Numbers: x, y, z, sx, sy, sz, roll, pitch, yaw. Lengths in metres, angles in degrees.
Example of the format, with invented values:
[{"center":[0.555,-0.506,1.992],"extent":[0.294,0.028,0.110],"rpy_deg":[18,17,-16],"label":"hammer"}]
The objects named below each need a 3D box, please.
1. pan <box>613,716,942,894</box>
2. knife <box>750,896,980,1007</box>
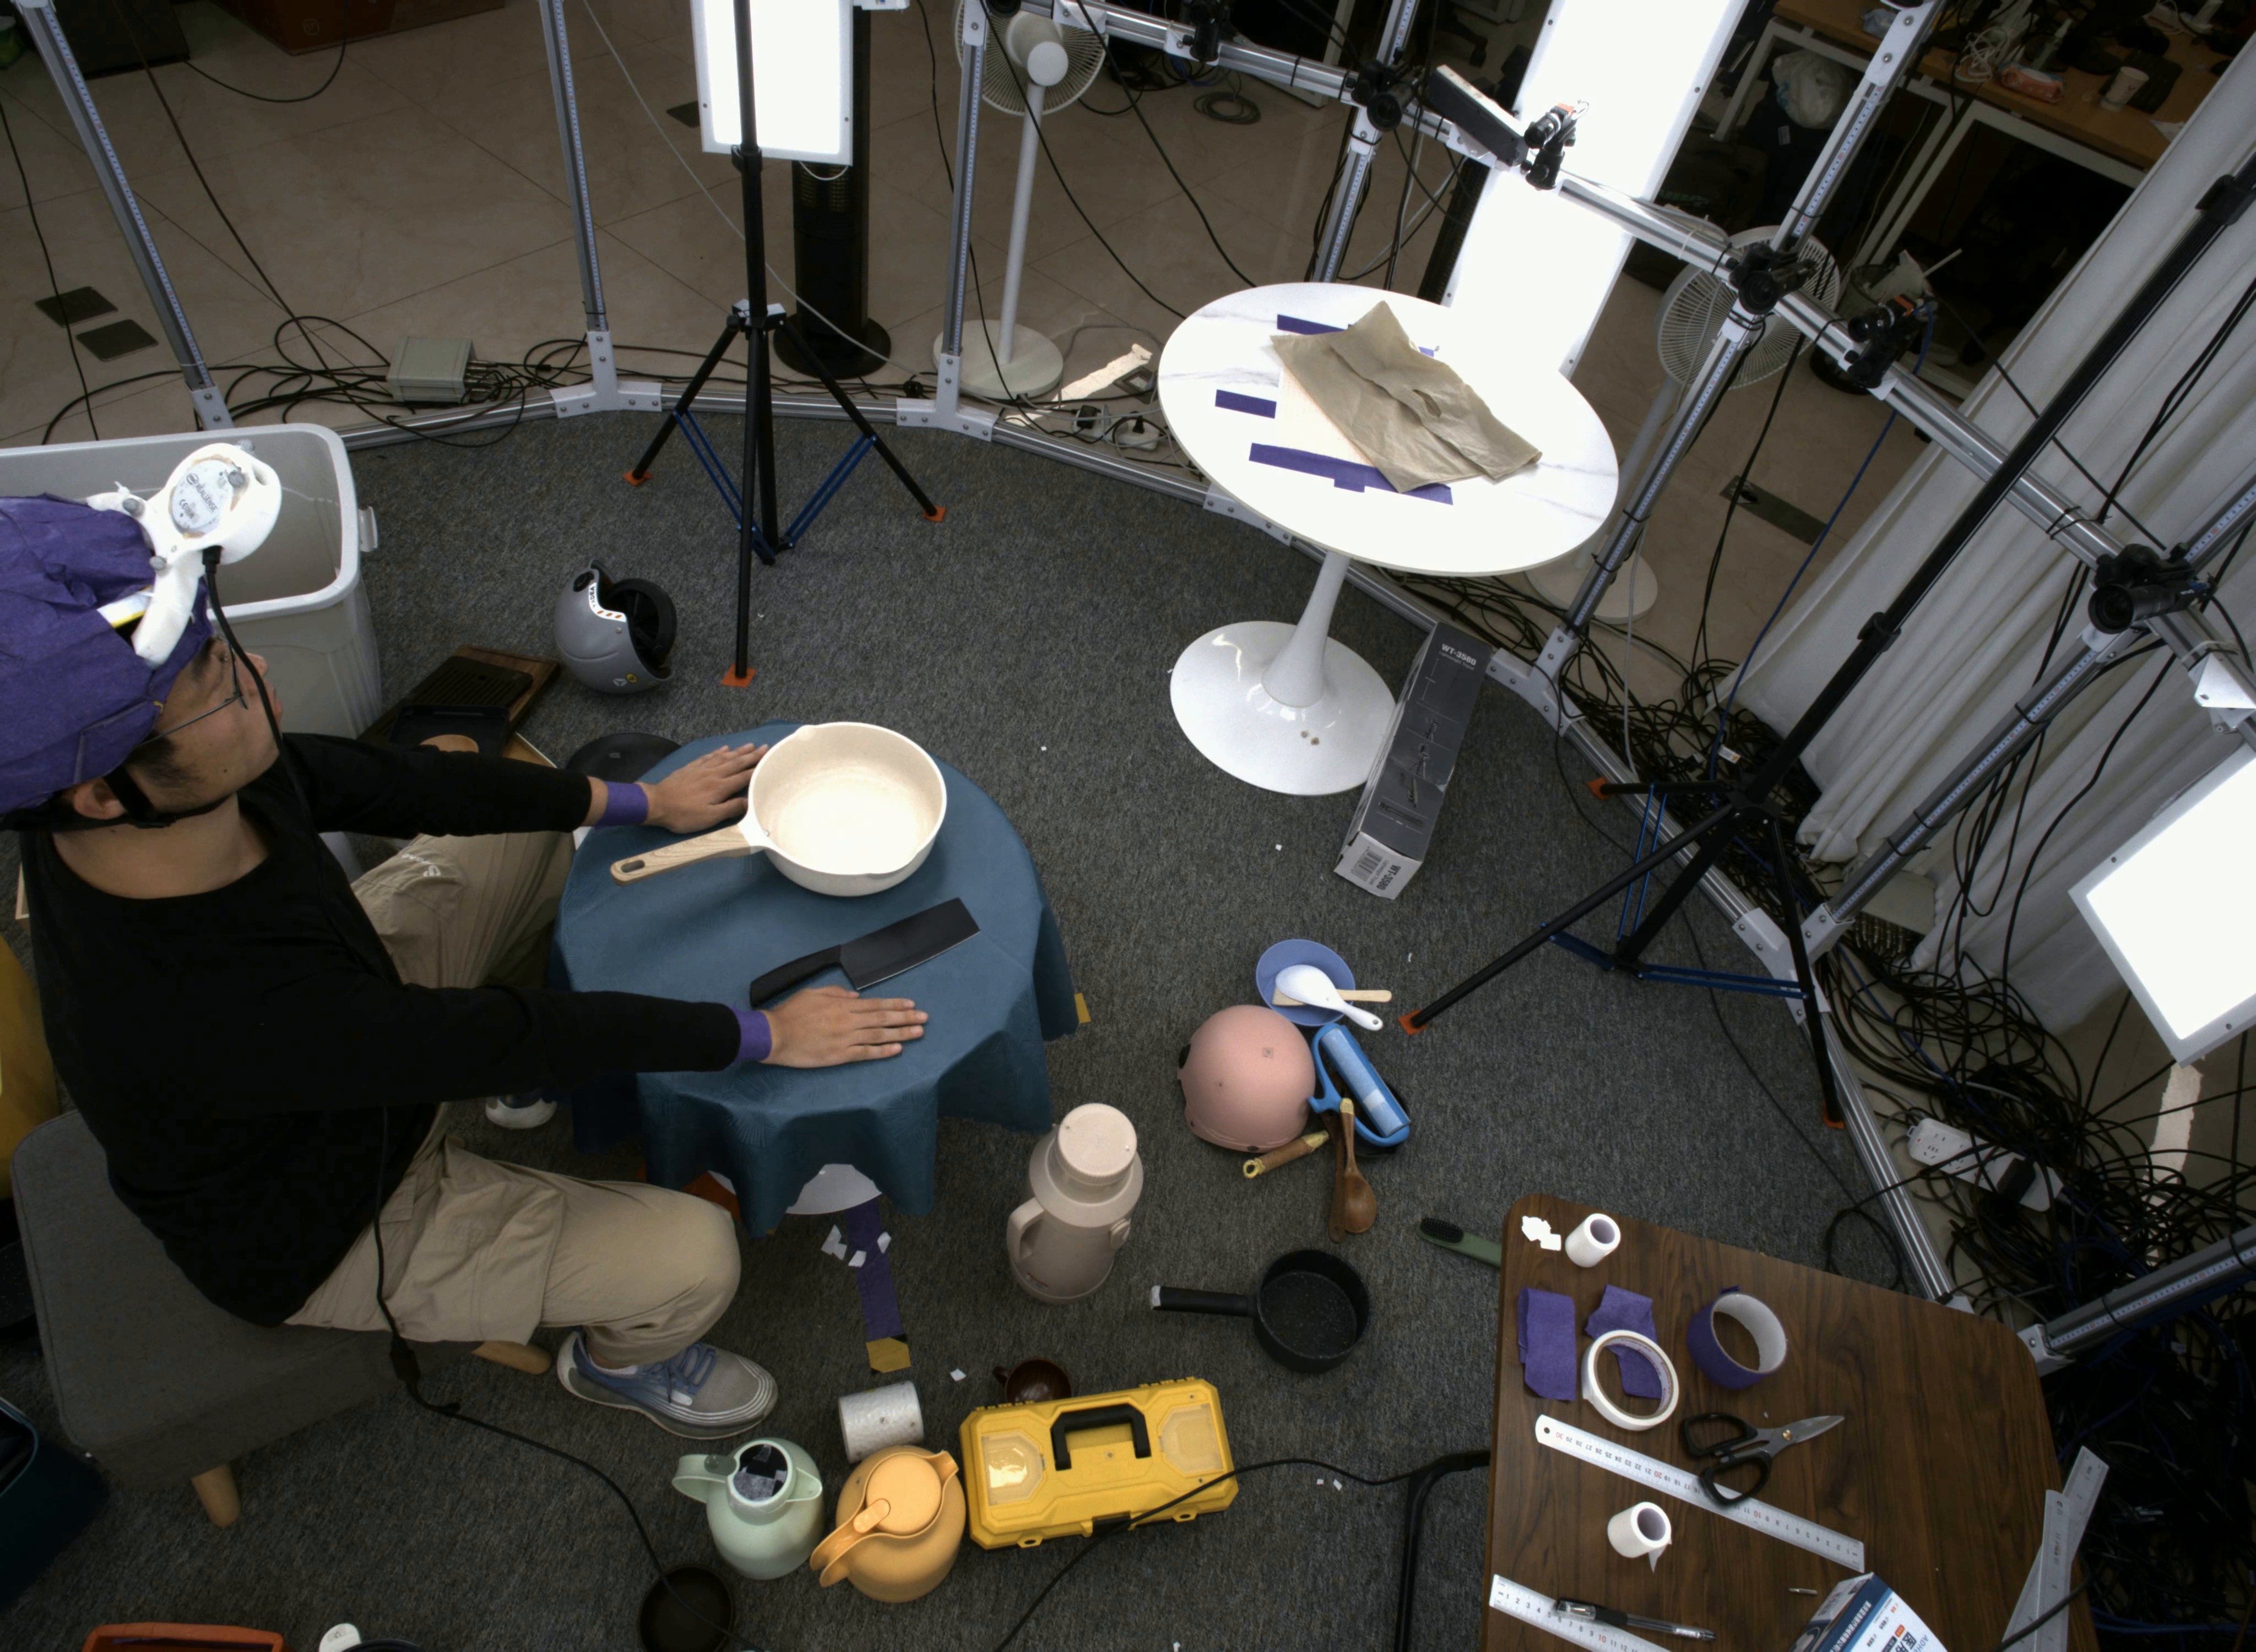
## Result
[{"center":[-0.442,0.008,1.647],"extent":[0.437,0.104,0.257],"rpy_deg":[-25,65,-29],"label":"pan"},{"center":[-0.327,0.160,1.619],"extent":[0.304,0.021,0.079],"rpy_deg":[-18,61,-28],"label":"knife"}]
